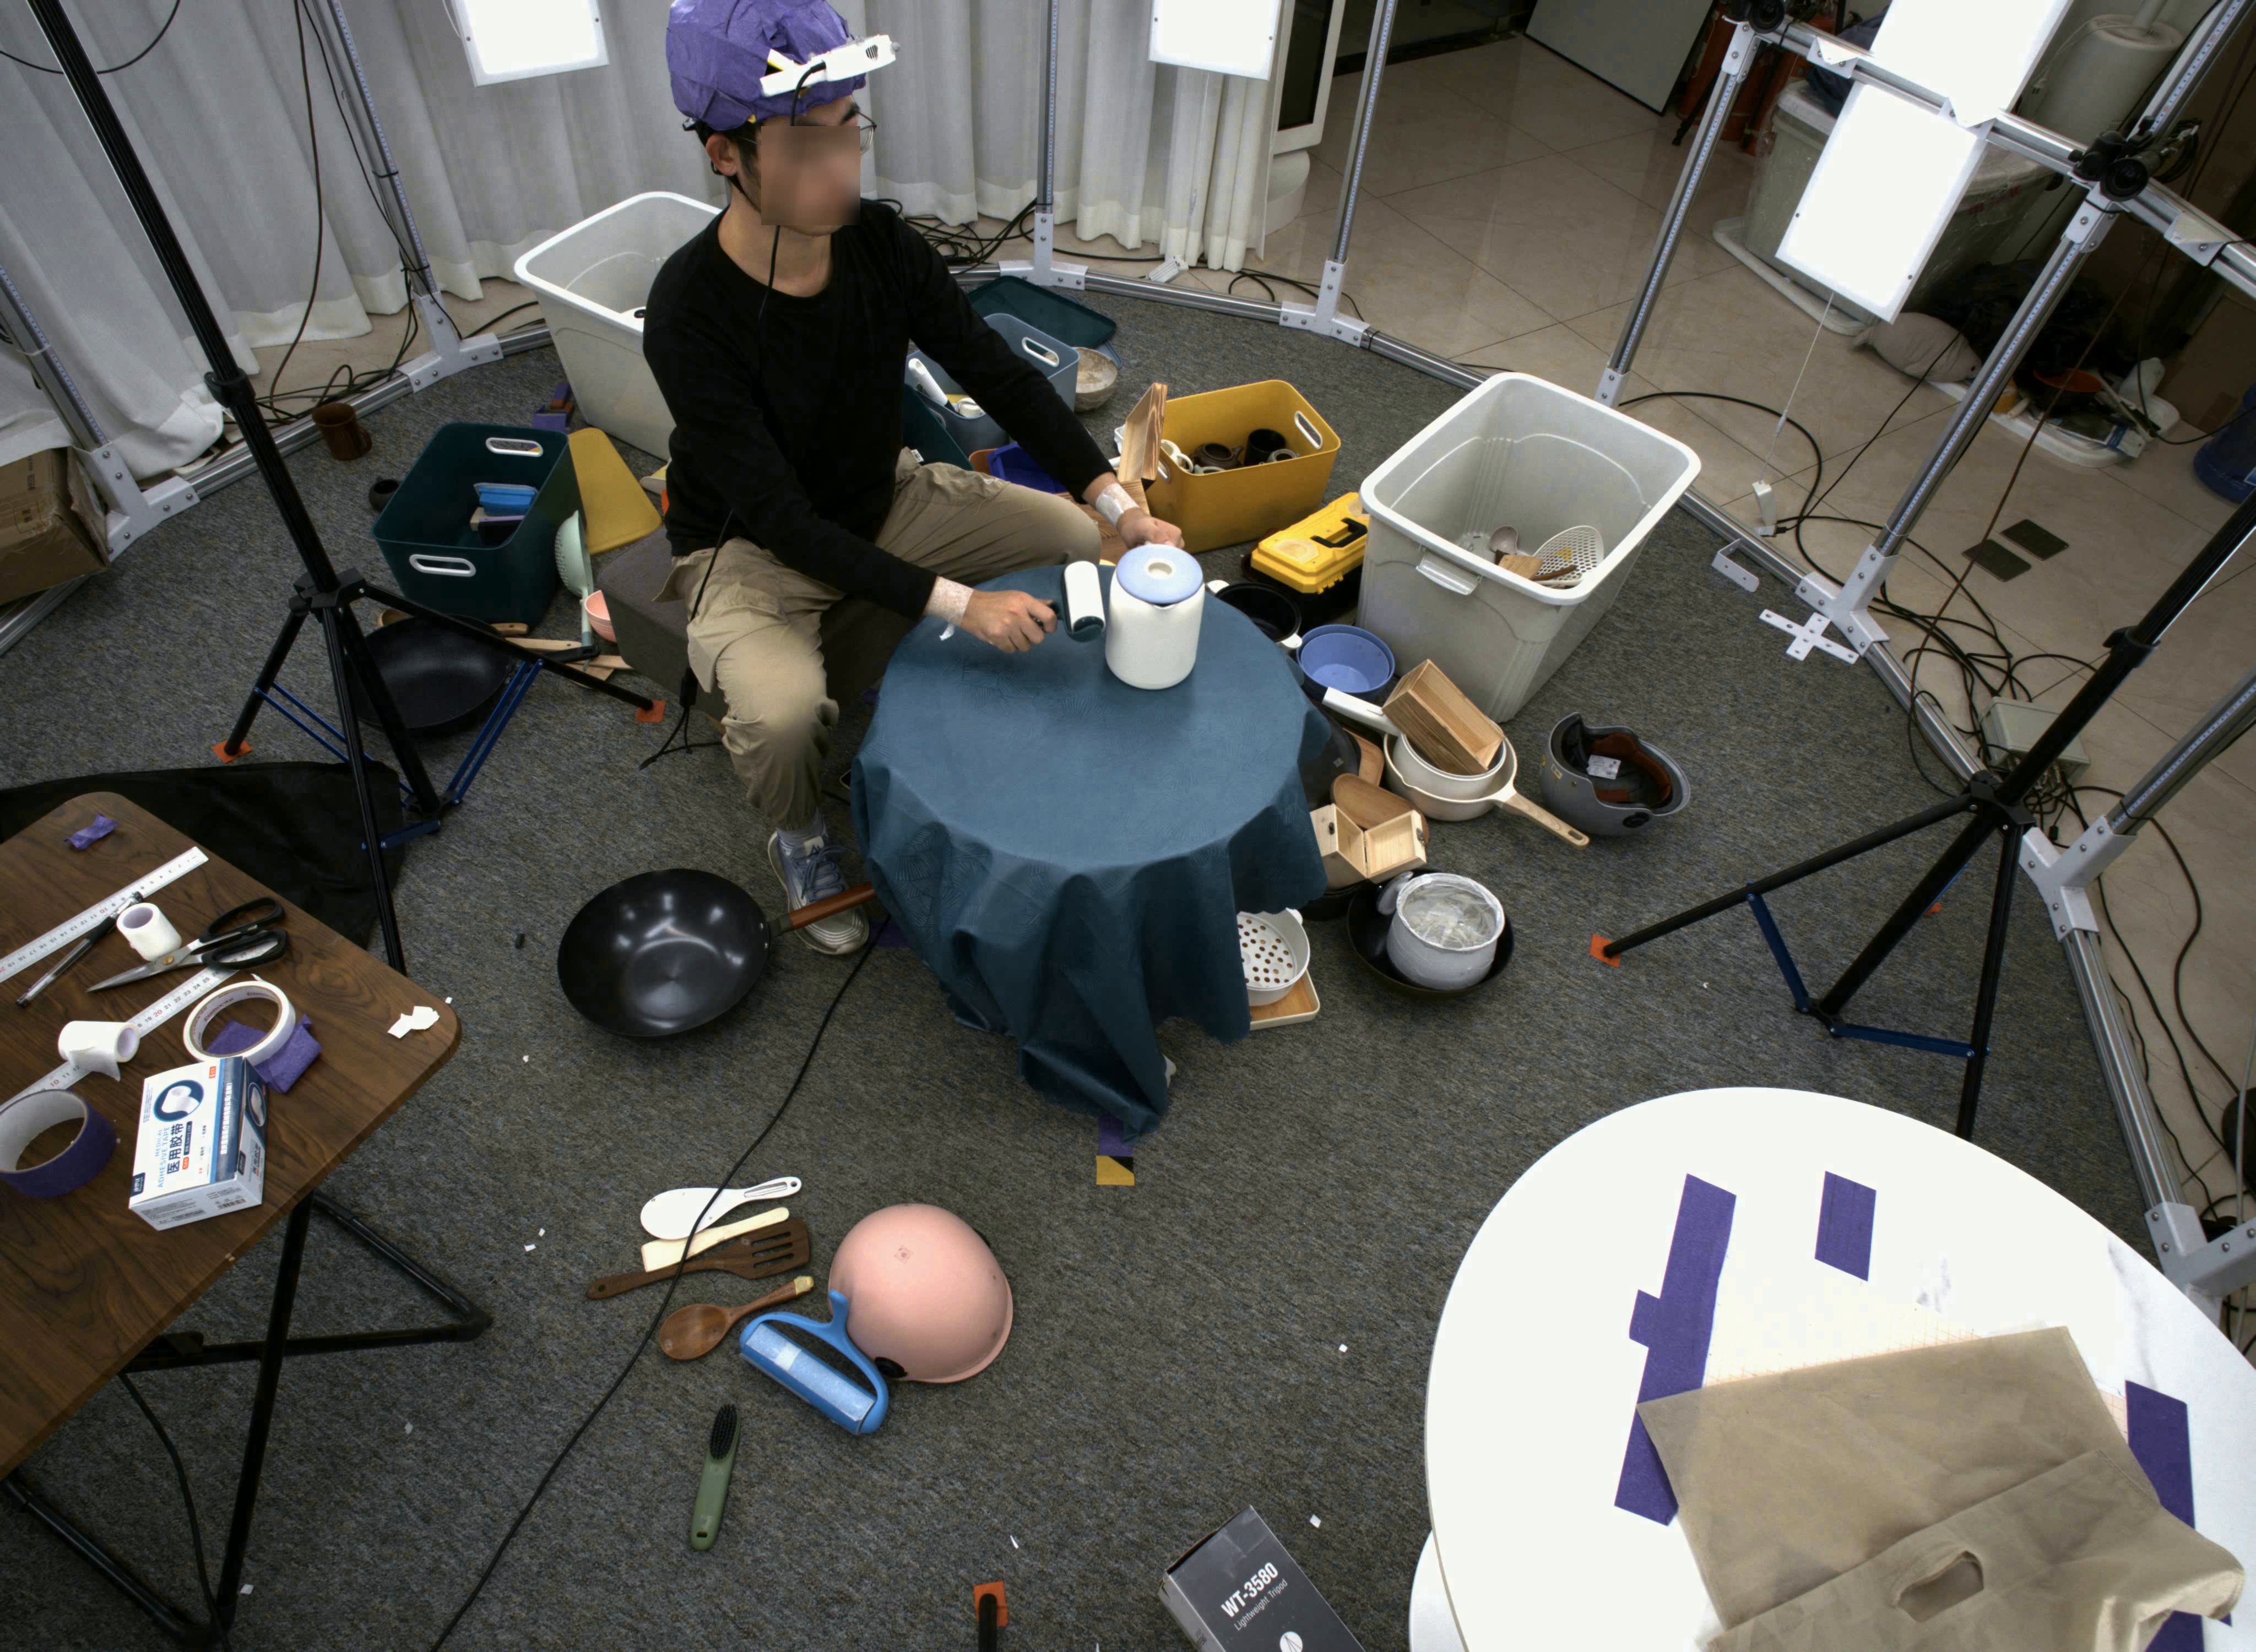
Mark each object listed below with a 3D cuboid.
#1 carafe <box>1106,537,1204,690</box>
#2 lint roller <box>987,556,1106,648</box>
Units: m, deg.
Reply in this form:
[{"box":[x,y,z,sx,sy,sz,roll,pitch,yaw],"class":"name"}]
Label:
[{"box":[0.035,-0.314,1.831,0.132,0.178,0.196,-2,49,-7],"class":"carafe"},{"box":[-0.123,-0.296,1.808,0.180,0.047,0.137,-15,56,11],"class":"lint roller"}]
